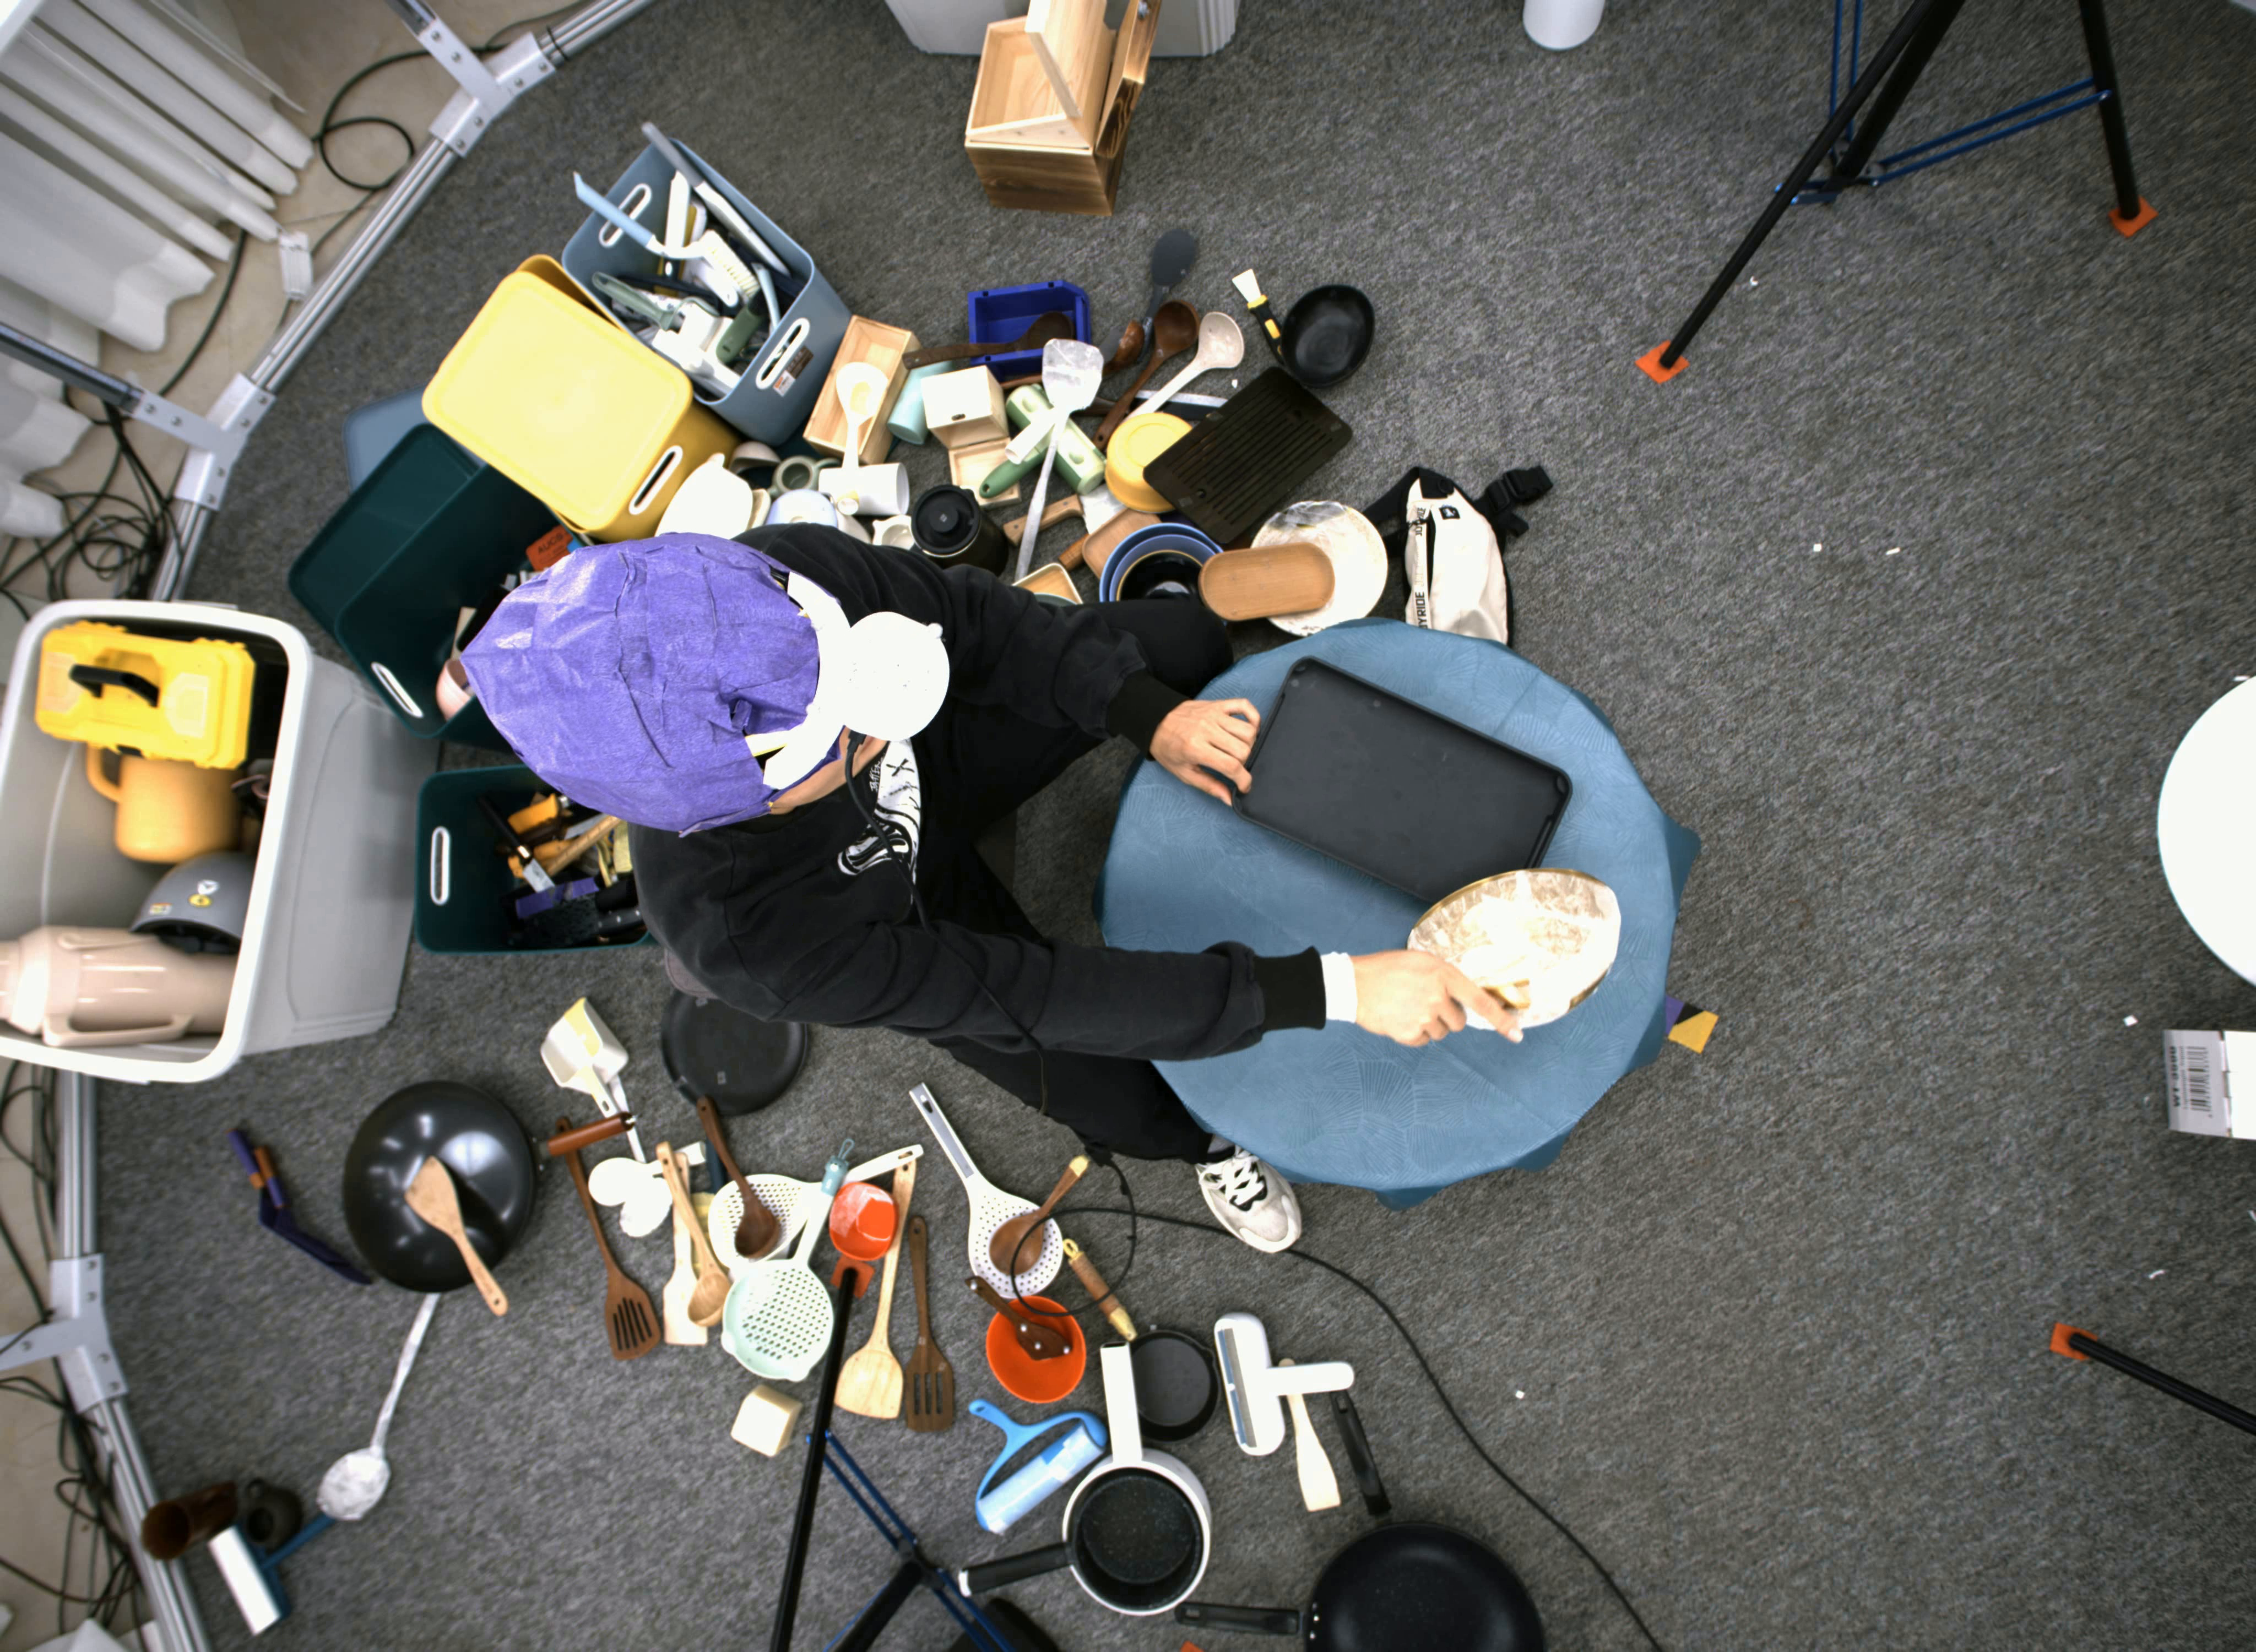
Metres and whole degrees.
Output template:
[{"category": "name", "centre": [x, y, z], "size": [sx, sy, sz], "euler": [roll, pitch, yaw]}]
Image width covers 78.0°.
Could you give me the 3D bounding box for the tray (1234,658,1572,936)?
[{"category": "tray", "centre": [0.283, -0.030, 1.431], "size": [0.318, 0.037, 0.184], "euler": [26, 90, 1]}]

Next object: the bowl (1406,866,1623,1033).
[{"category": "bowl", "centre": [0.376, 0.130, 1.322], "size": [0.216, 0.210, 0.096], "euler": [-22, 113, 7]}]
